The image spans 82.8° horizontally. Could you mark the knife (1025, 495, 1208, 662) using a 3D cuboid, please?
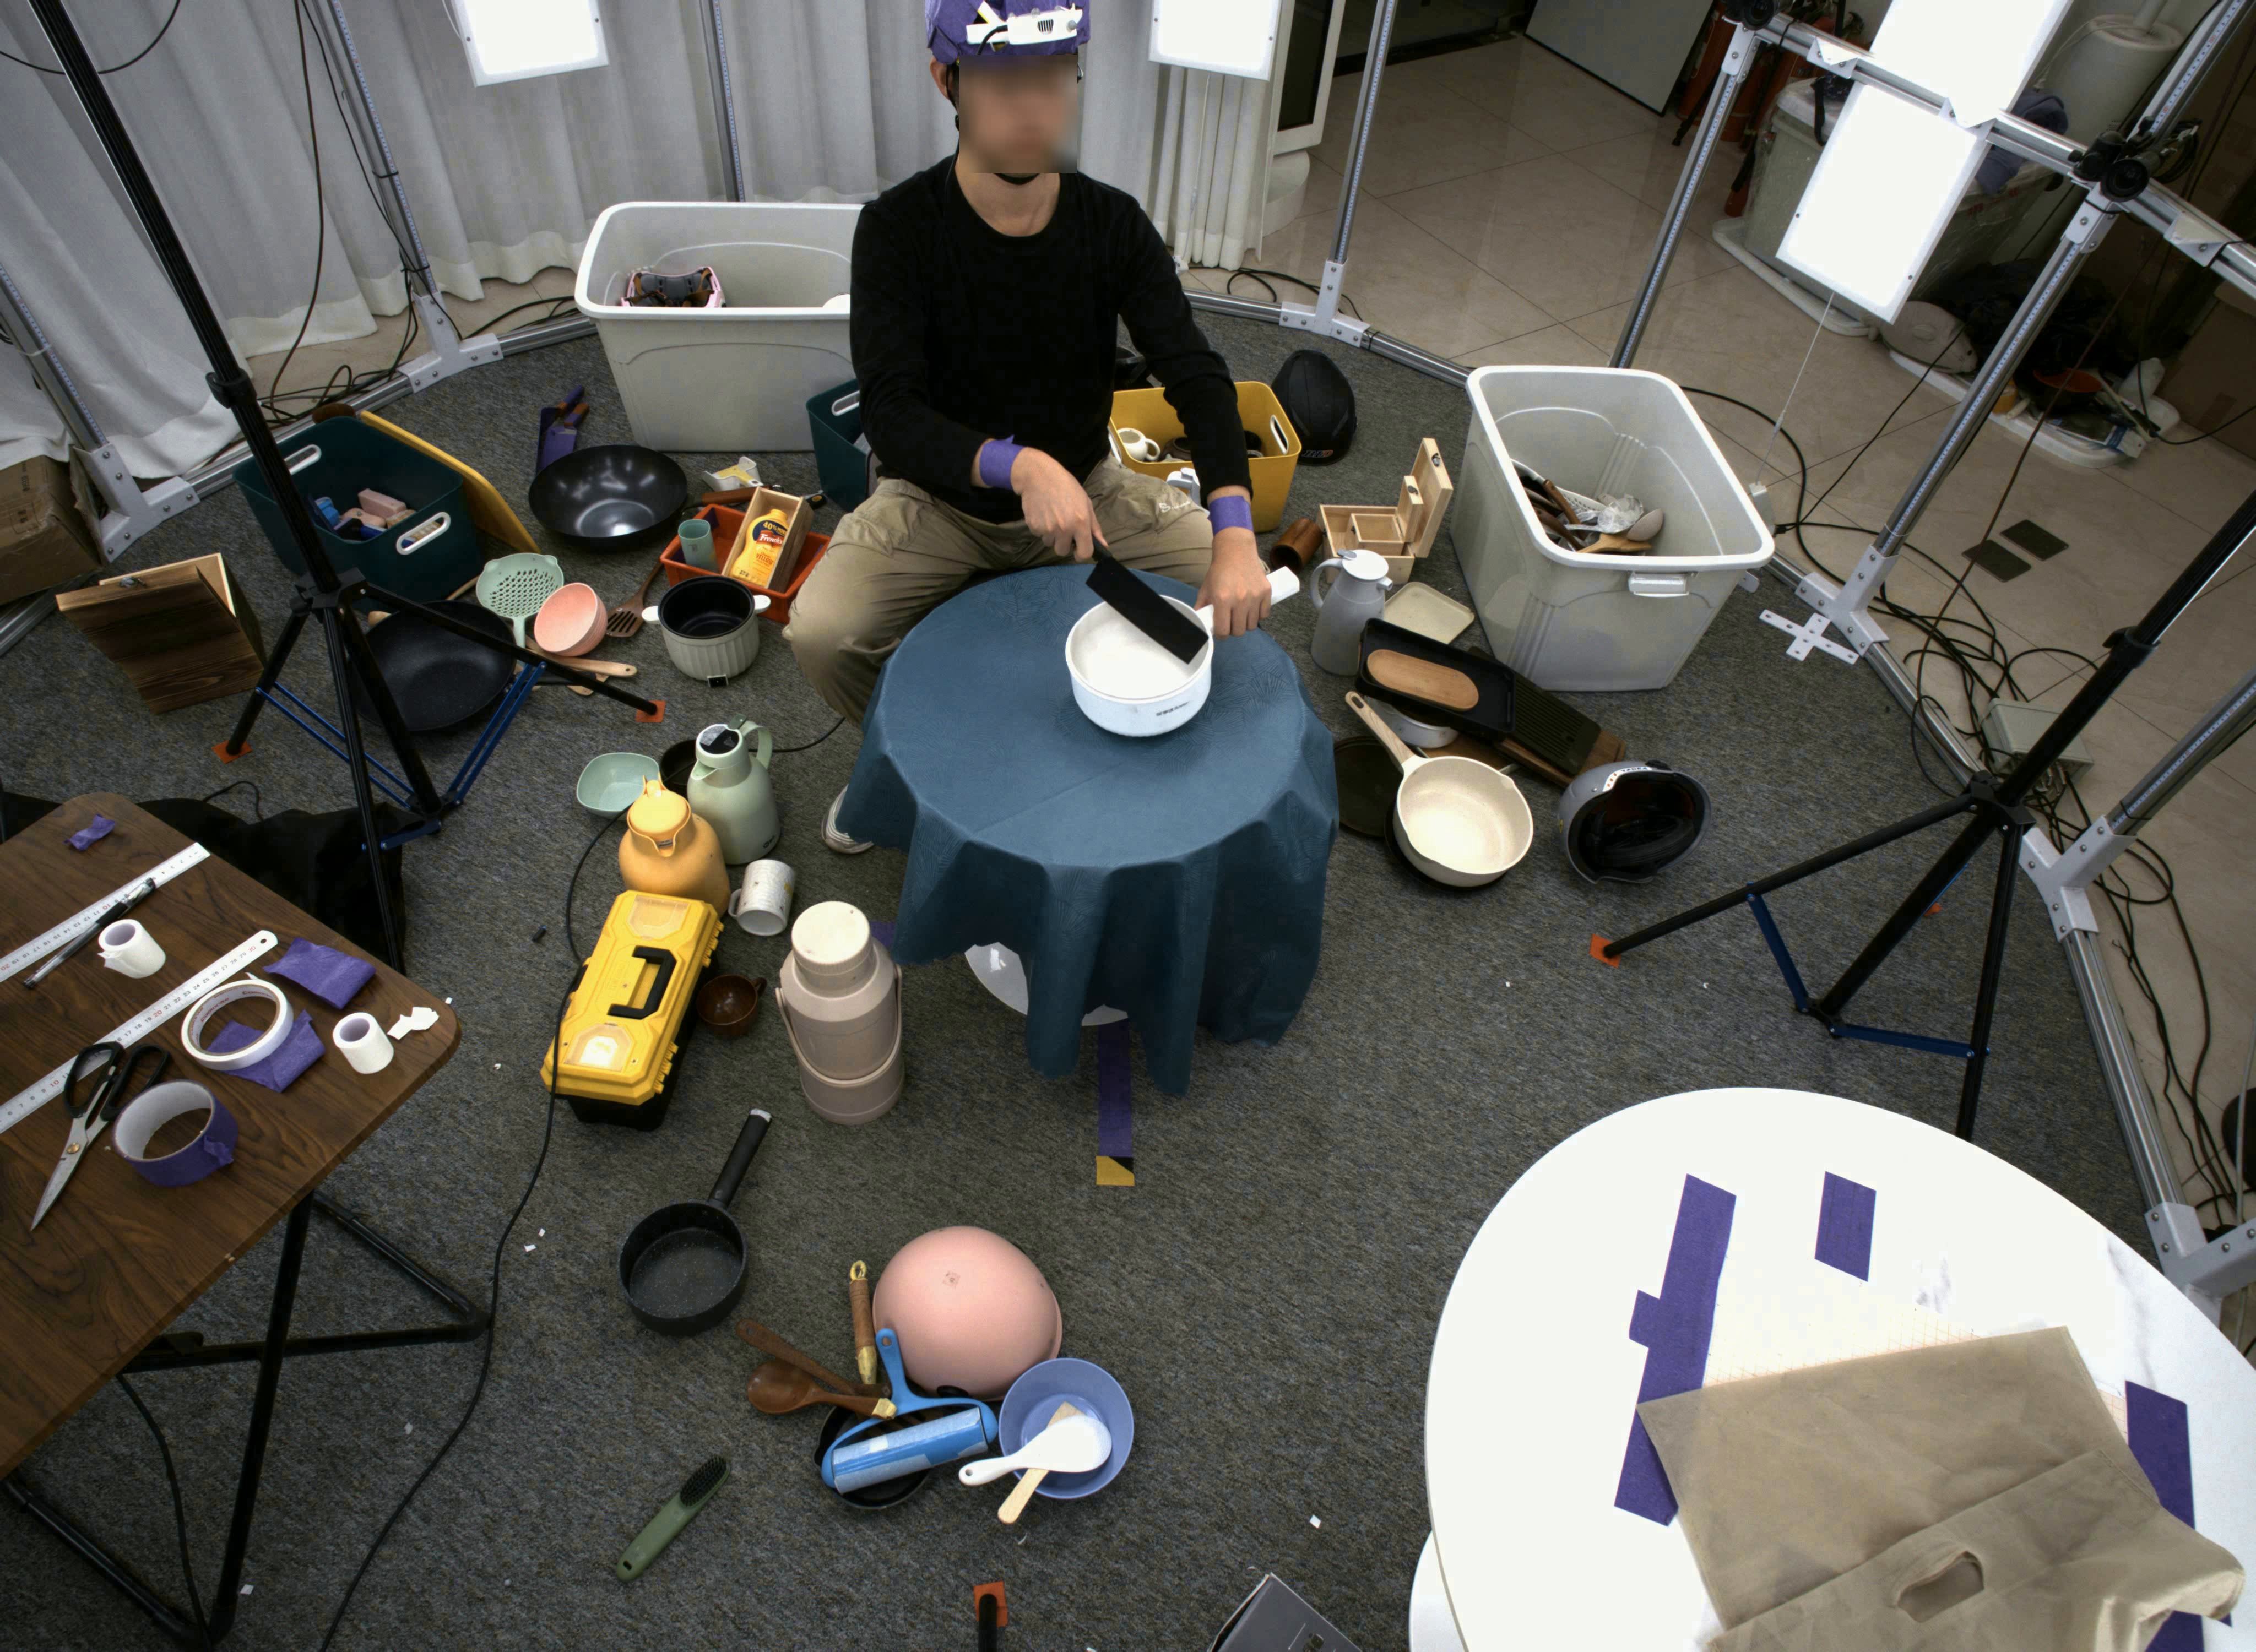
[{"bbox_3d":[-0.019,-0.335,1.729,0.302,0.080,0.021,43,45,-2],"label":"knife"}]

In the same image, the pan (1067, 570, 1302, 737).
[{"bbox_3d":[0.085,-0.252,1.807,0.356,0.099,0.205,-27,55,-16],"label":"pan"}]
